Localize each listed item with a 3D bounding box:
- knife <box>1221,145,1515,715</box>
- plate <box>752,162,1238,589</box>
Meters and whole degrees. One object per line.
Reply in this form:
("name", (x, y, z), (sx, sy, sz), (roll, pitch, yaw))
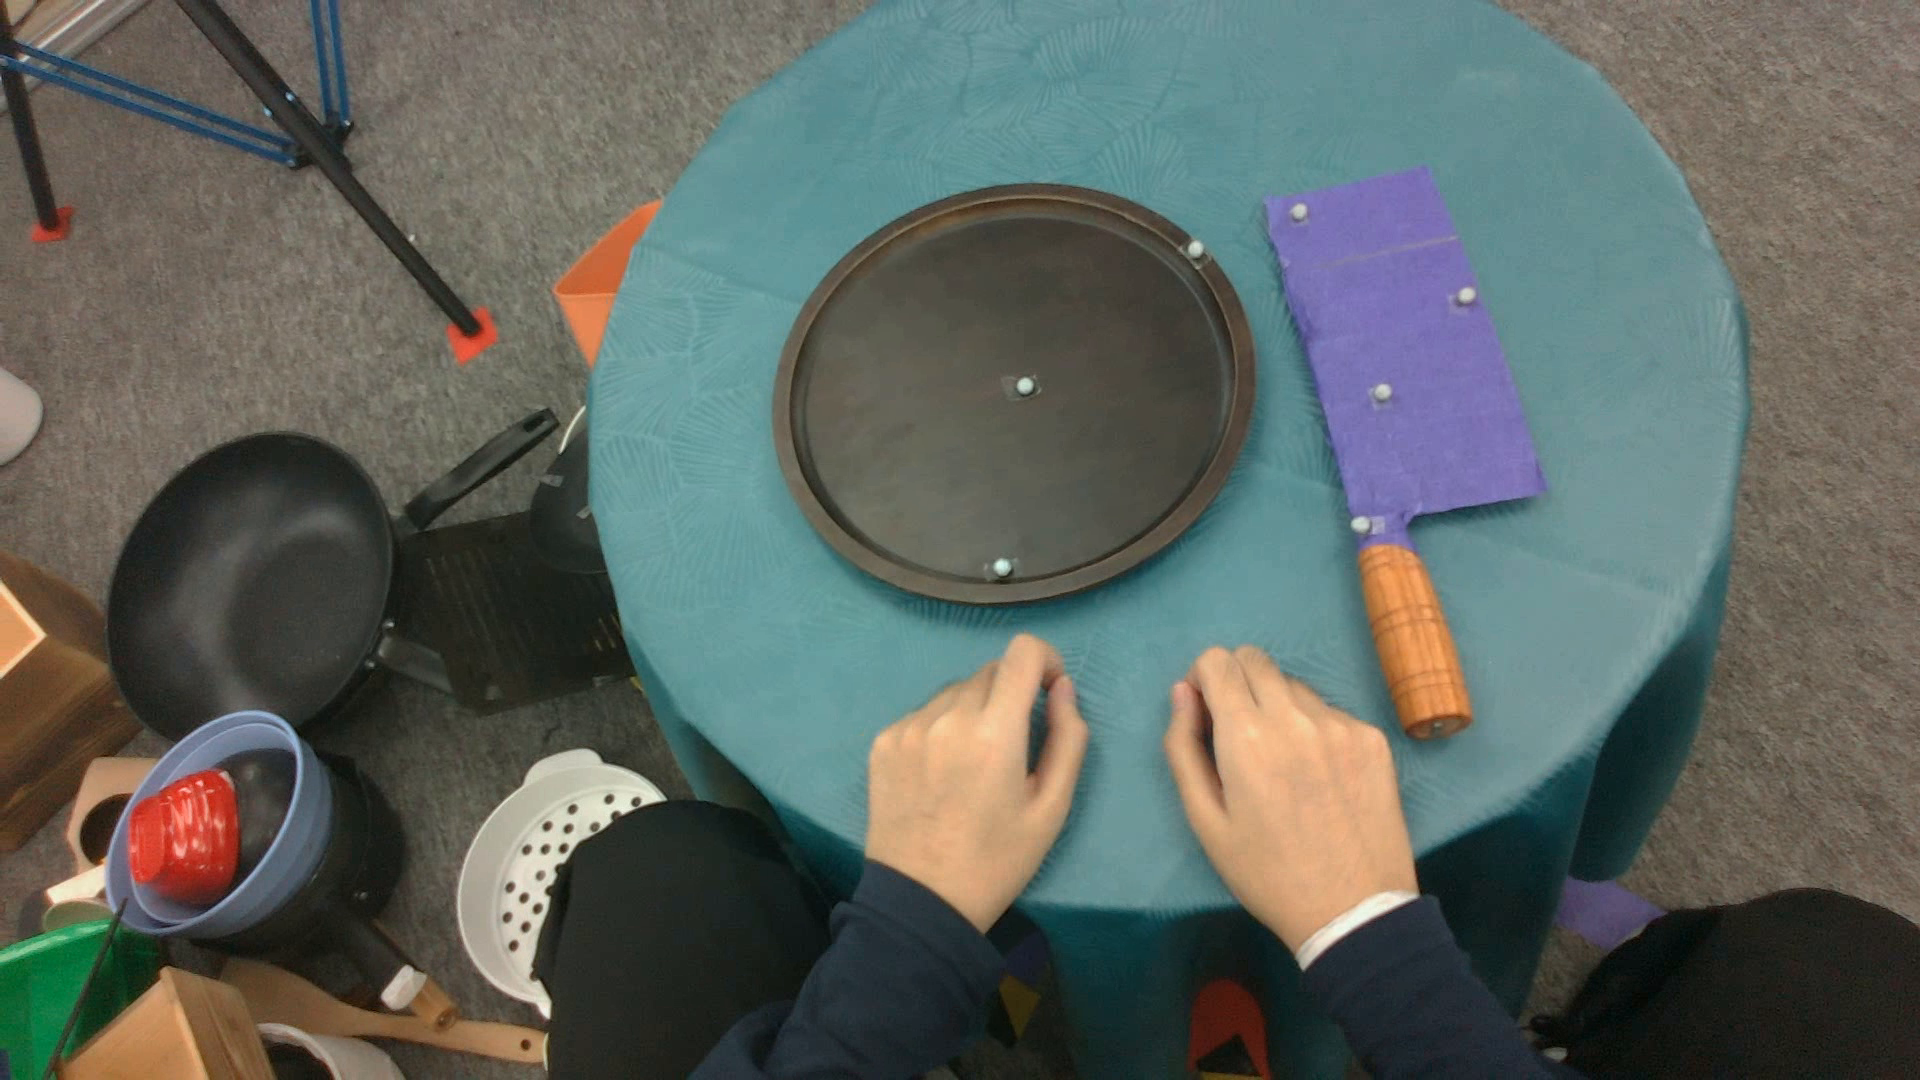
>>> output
("knife", (0.212, -0.072, 0.671), (0.104, 0.032, 0.316), (-11, 63, 5))
("plate", (0.016, -0.090, 0.714), (0.254, 0.029, 0.255), (-4, 64, 7))
